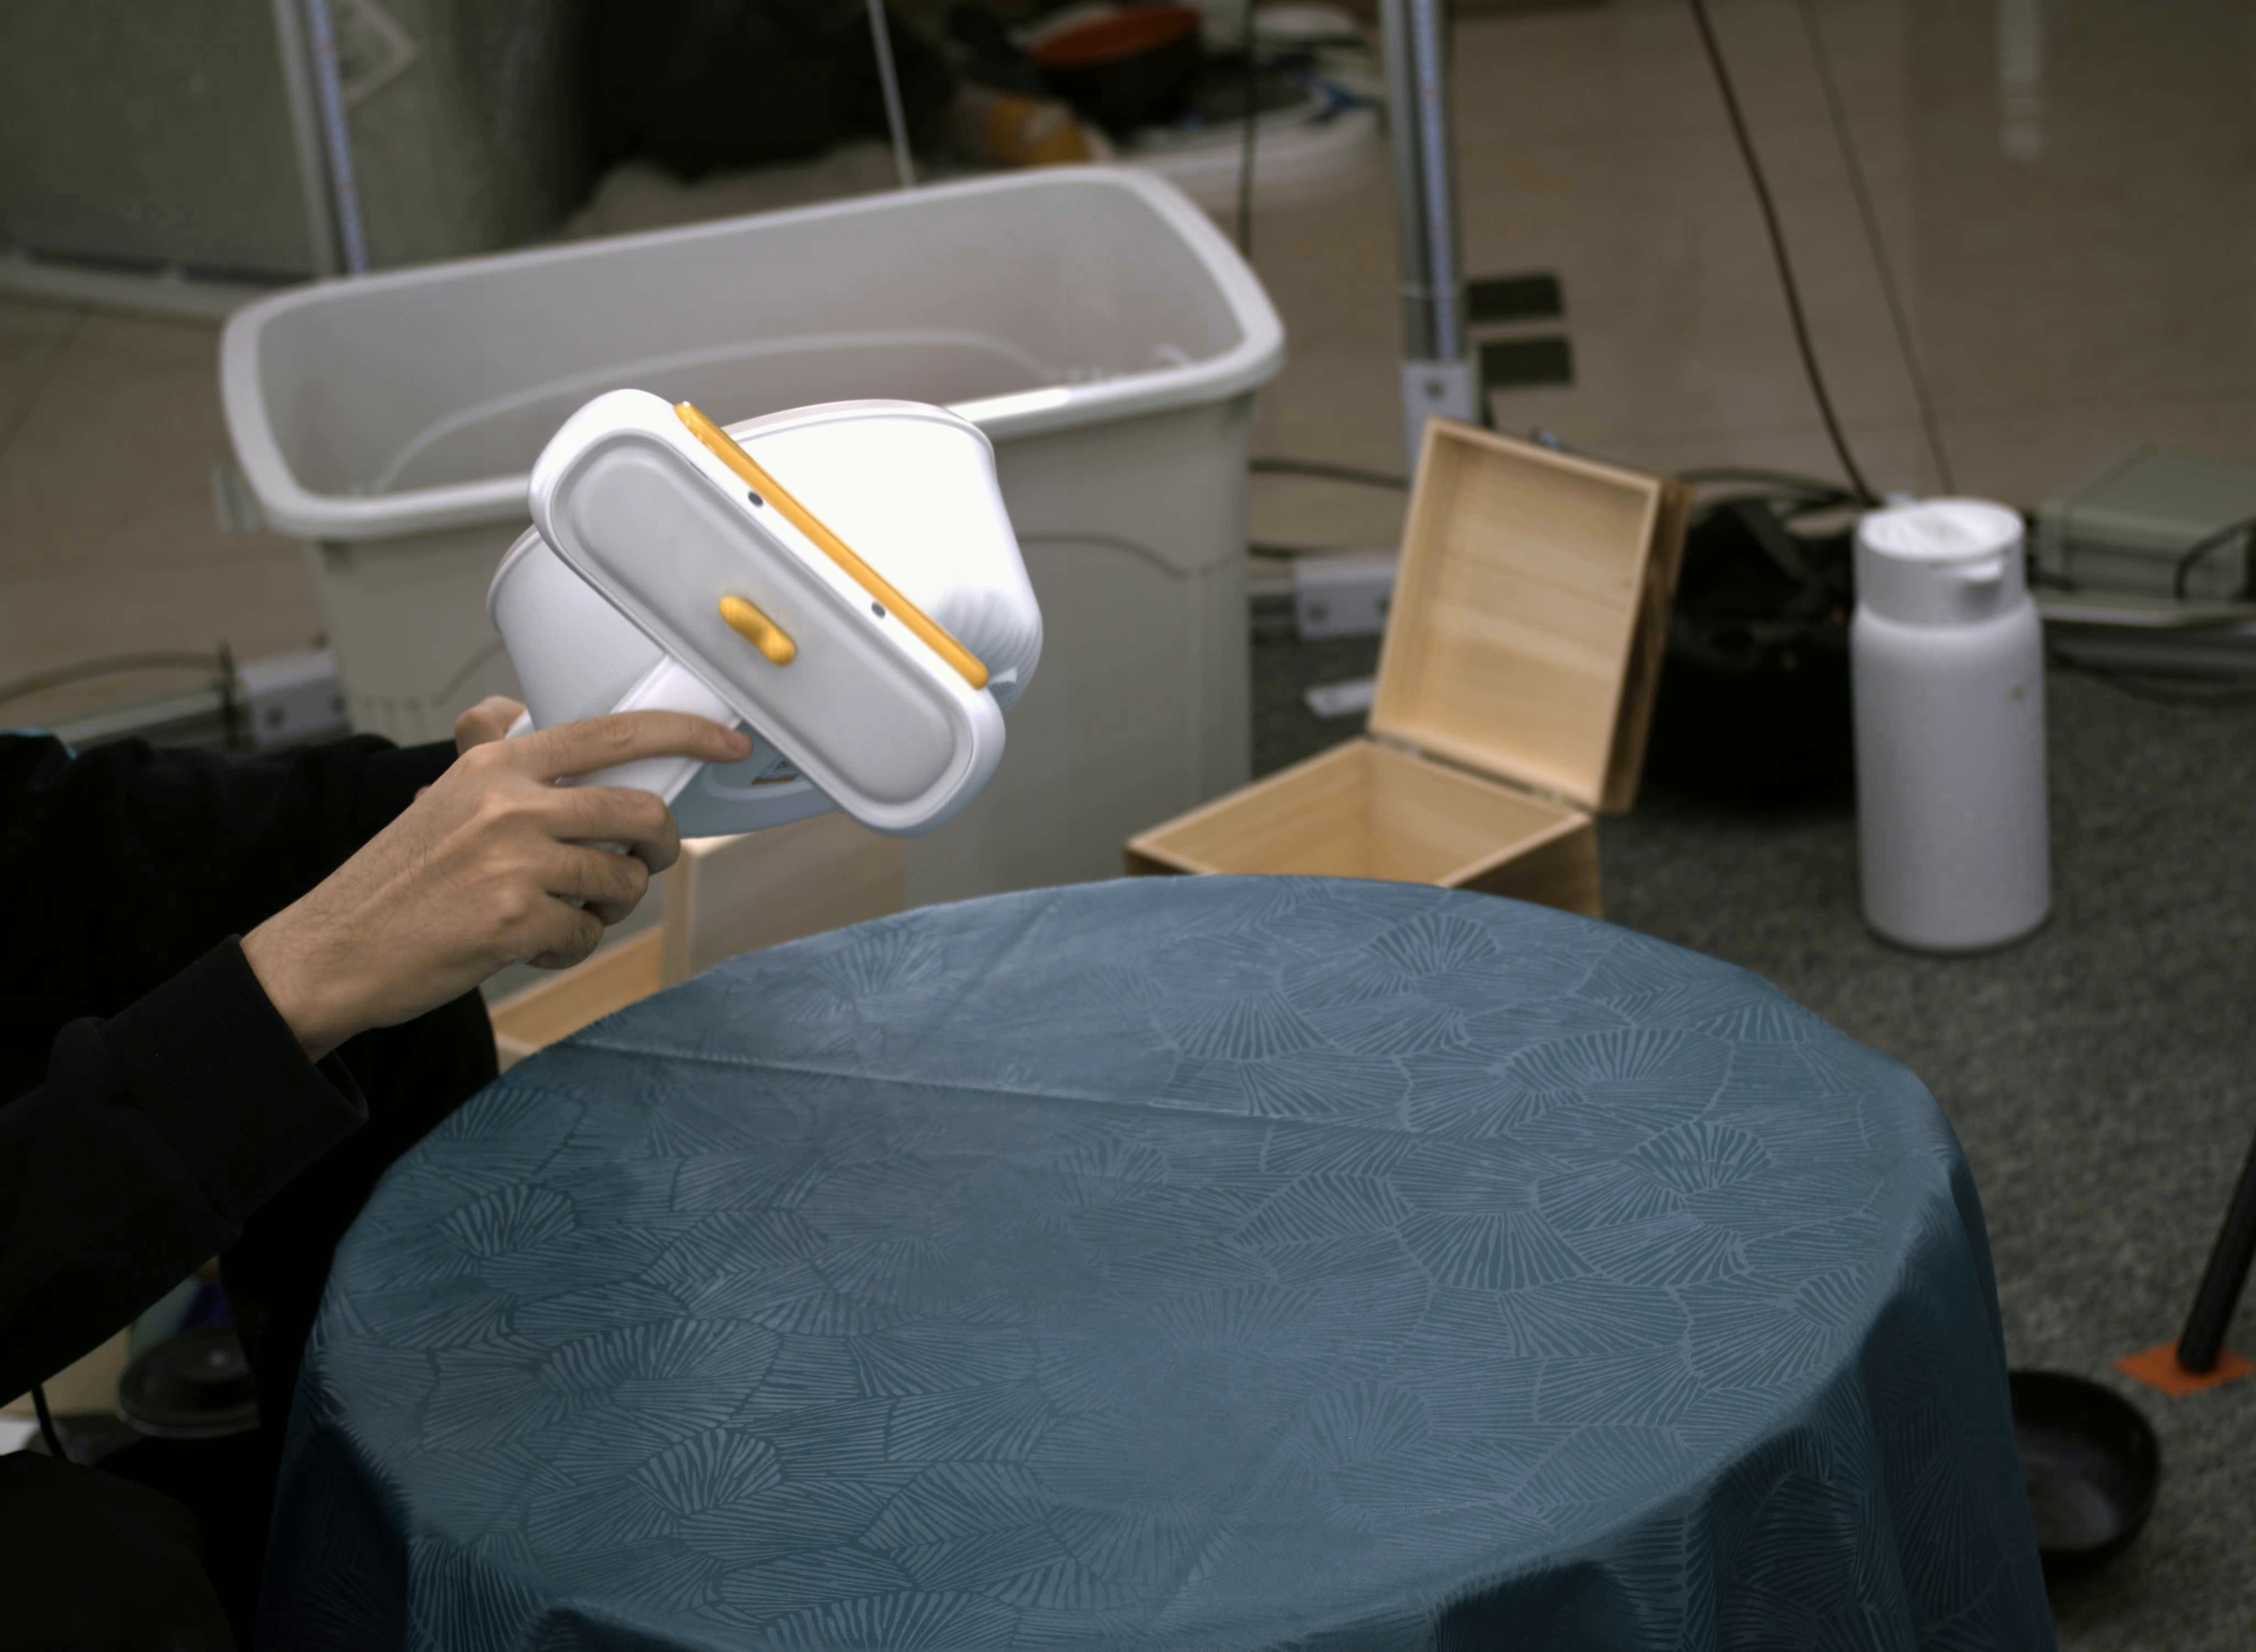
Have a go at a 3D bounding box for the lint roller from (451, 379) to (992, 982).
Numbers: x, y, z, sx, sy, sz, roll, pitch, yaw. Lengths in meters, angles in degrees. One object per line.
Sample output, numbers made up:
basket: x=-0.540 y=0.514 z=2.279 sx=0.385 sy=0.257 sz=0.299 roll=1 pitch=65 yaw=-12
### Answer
lint roller: x=-0.167 y=-0.030 z=1.963 sx=0.193 sy=0.194 sz=0.073 roll=-51 pitch=14 yaw=3

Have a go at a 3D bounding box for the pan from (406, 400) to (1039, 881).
pan: x=-0.175 y=-0.037 z=2.184 sx=0.200 sy=0.101 sz=0.358 roll=-7 pitch=-21 yaw=-39
